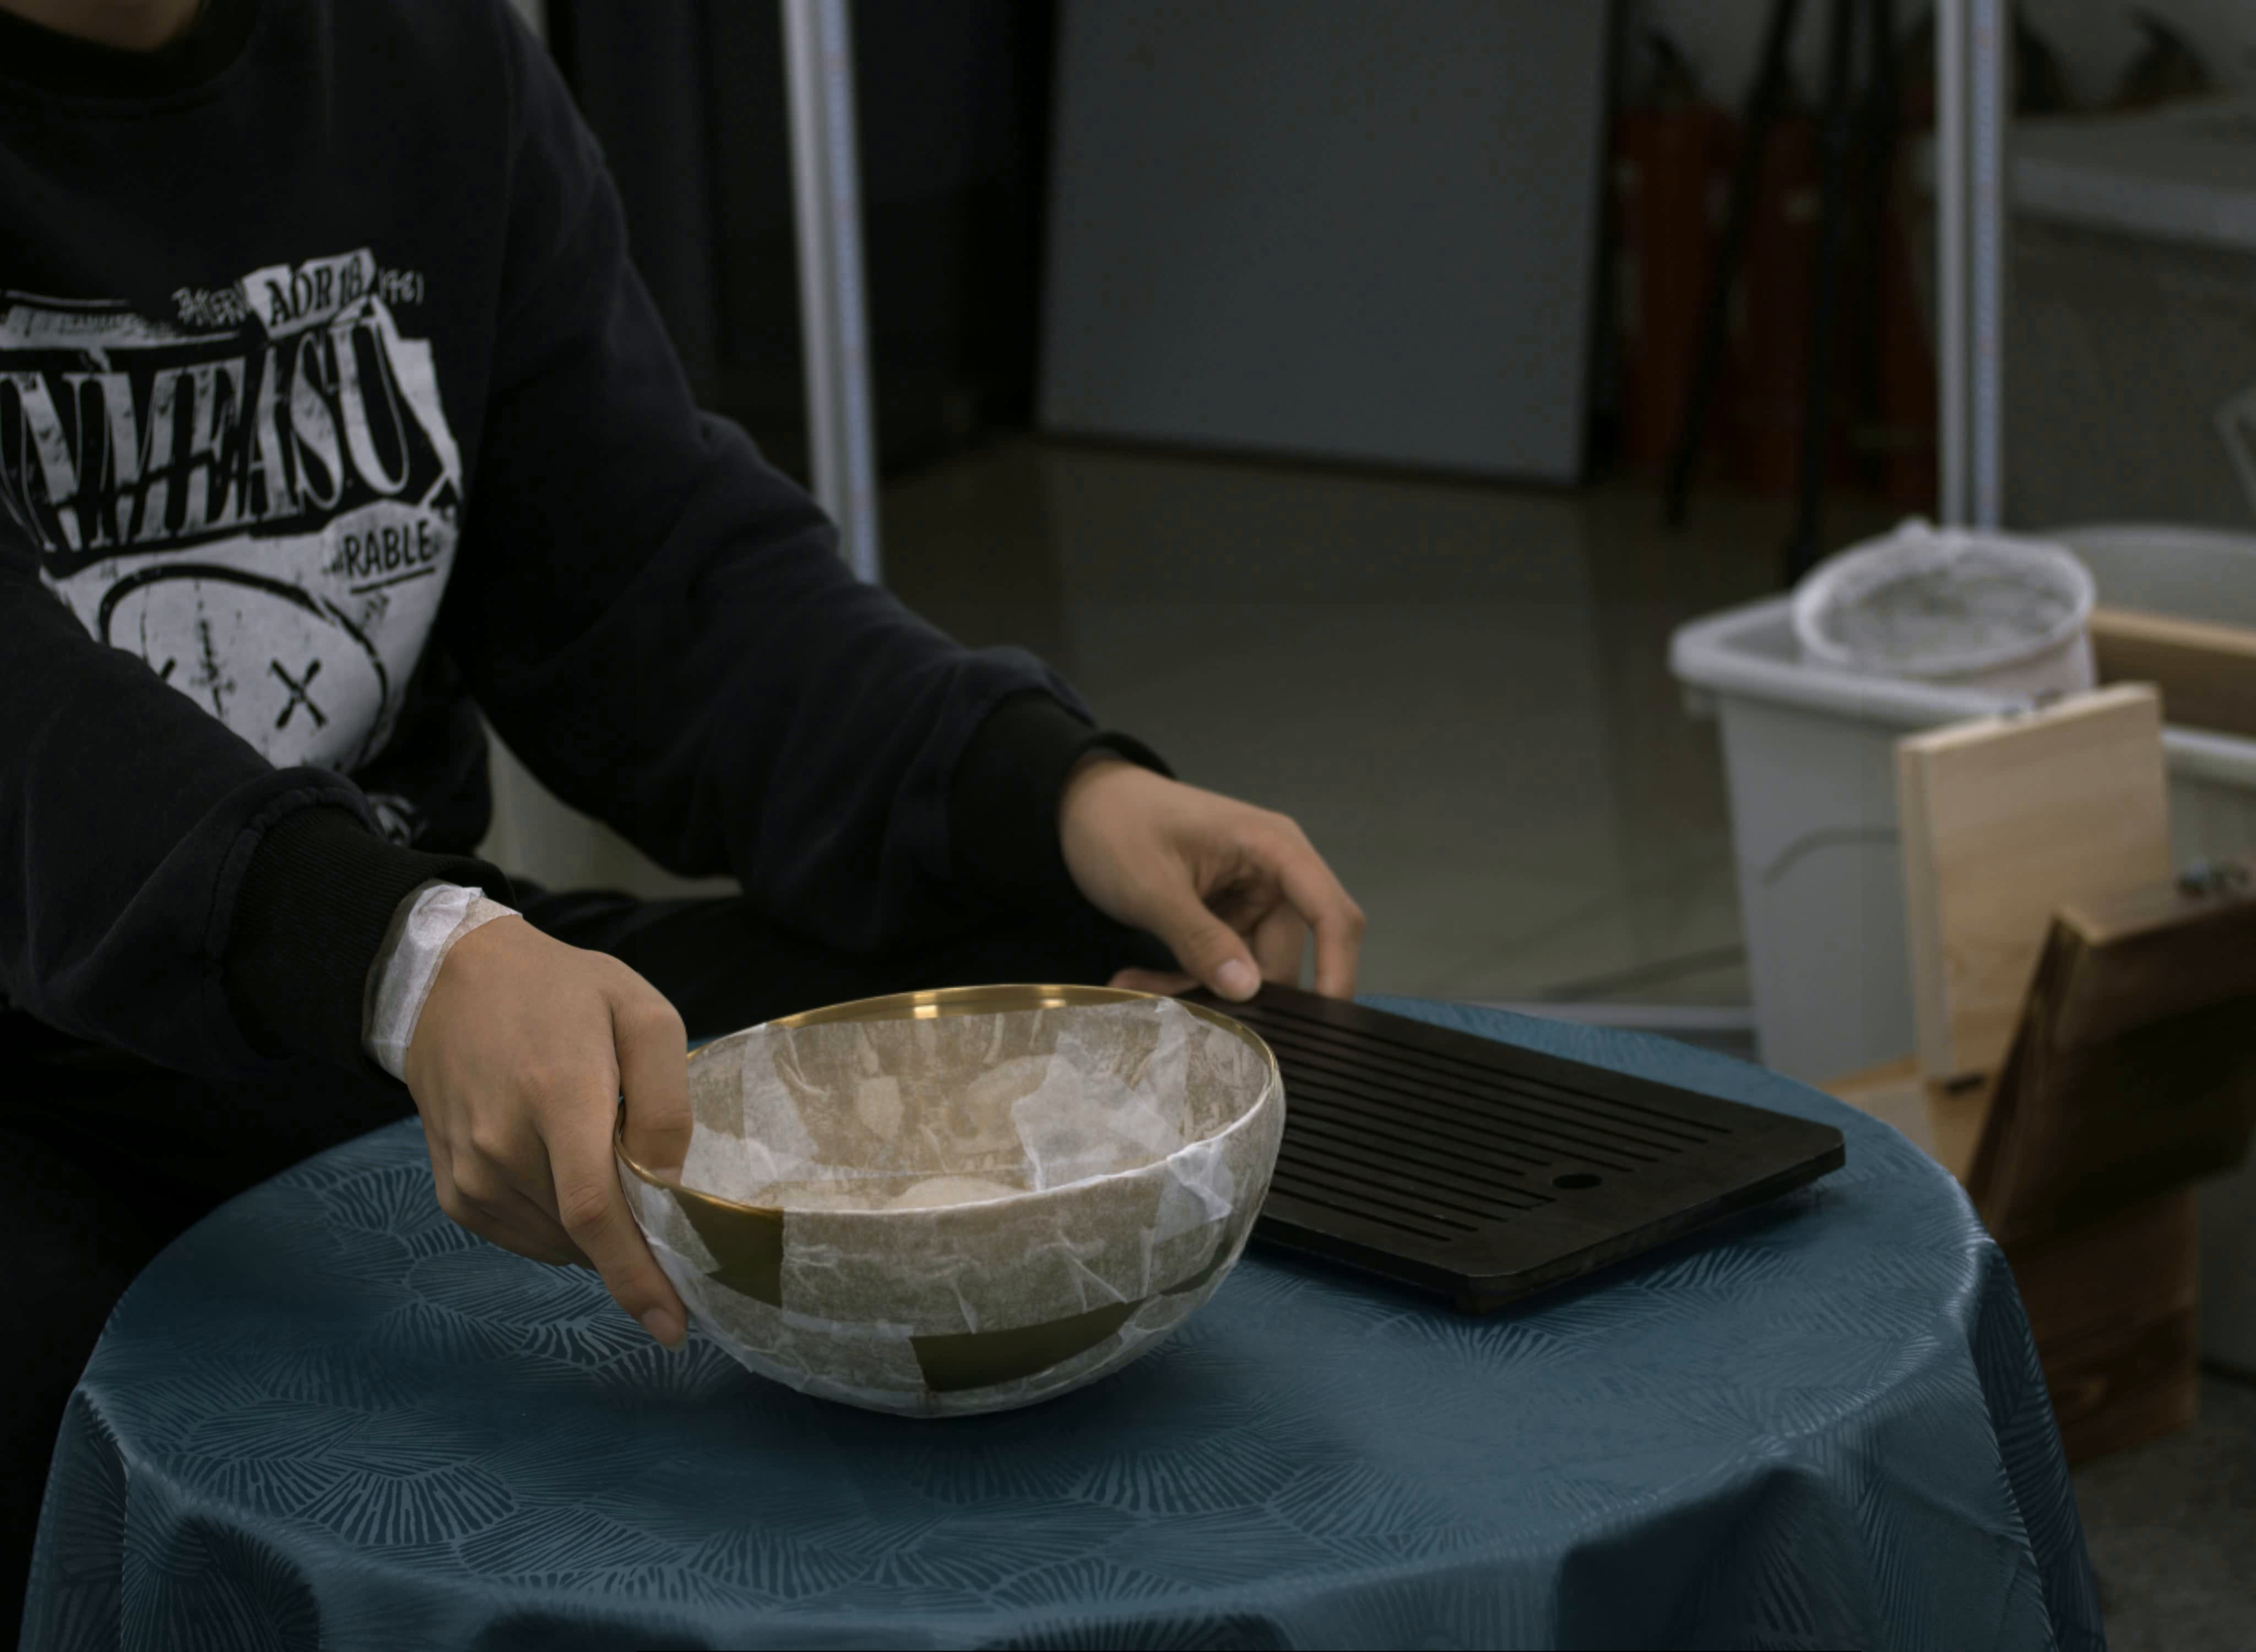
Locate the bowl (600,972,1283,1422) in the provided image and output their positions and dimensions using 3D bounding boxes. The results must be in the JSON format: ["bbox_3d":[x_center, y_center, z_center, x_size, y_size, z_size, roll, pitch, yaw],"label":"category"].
[{"bbox_3d":[-0.050,0.118,1.601,0.212,0.095,0.215,-6,17,1],"label":"bowl"}]

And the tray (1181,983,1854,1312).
[{"bbox_3d":[0.077,0.103,1.779,0.166,0.019,0.309,-17,18,-37],"label":"tray"}]
